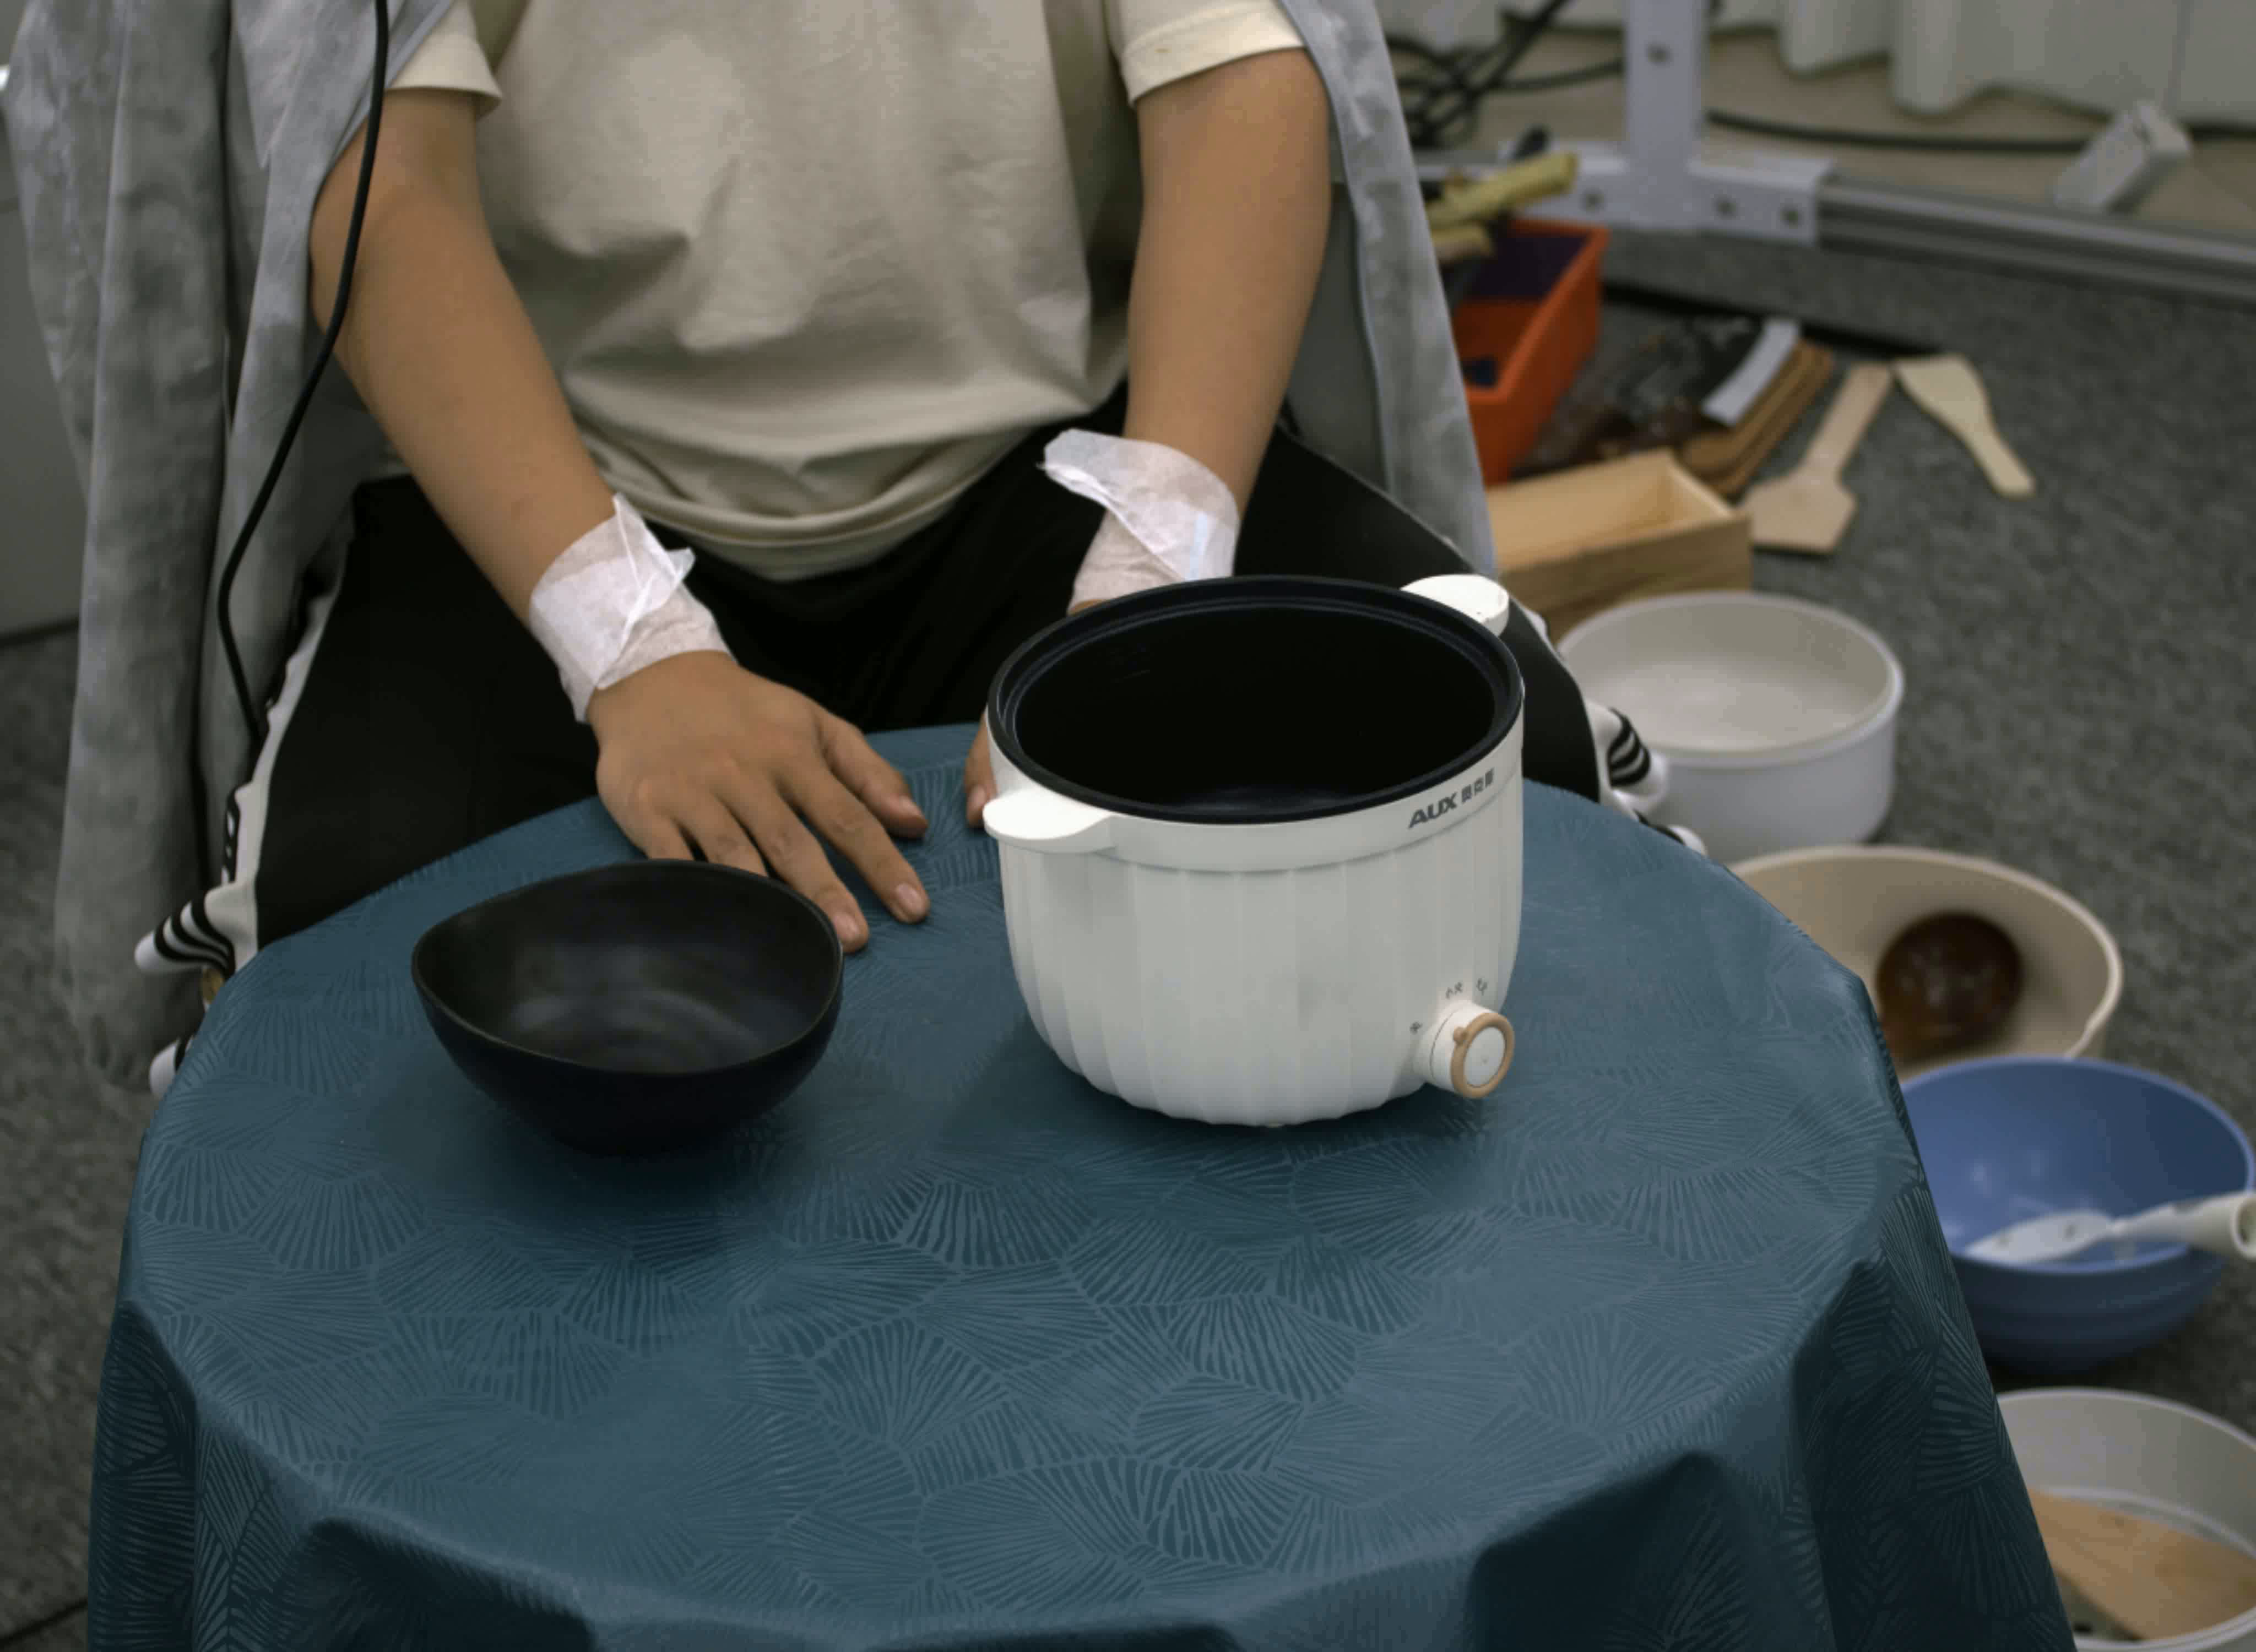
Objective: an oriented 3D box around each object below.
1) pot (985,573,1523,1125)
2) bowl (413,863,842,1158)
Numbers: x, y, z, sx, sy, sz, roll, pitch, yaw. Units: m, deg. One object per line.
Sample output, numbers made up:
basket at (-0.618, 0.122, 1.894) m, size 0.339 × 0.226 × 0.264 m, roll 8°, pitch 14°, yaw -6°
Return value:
pot at (0.051, 0.013, 1.916) m, size 0.190 × 0.141 × 0.243 m, roll 17°, pitch 34°, yaw 41°
bowl at (-0.169, 0.070, 1.907) m, size 0.138 × 0.066 × 0.170 m, roll -21°, pitch 31°, yaw -34°
